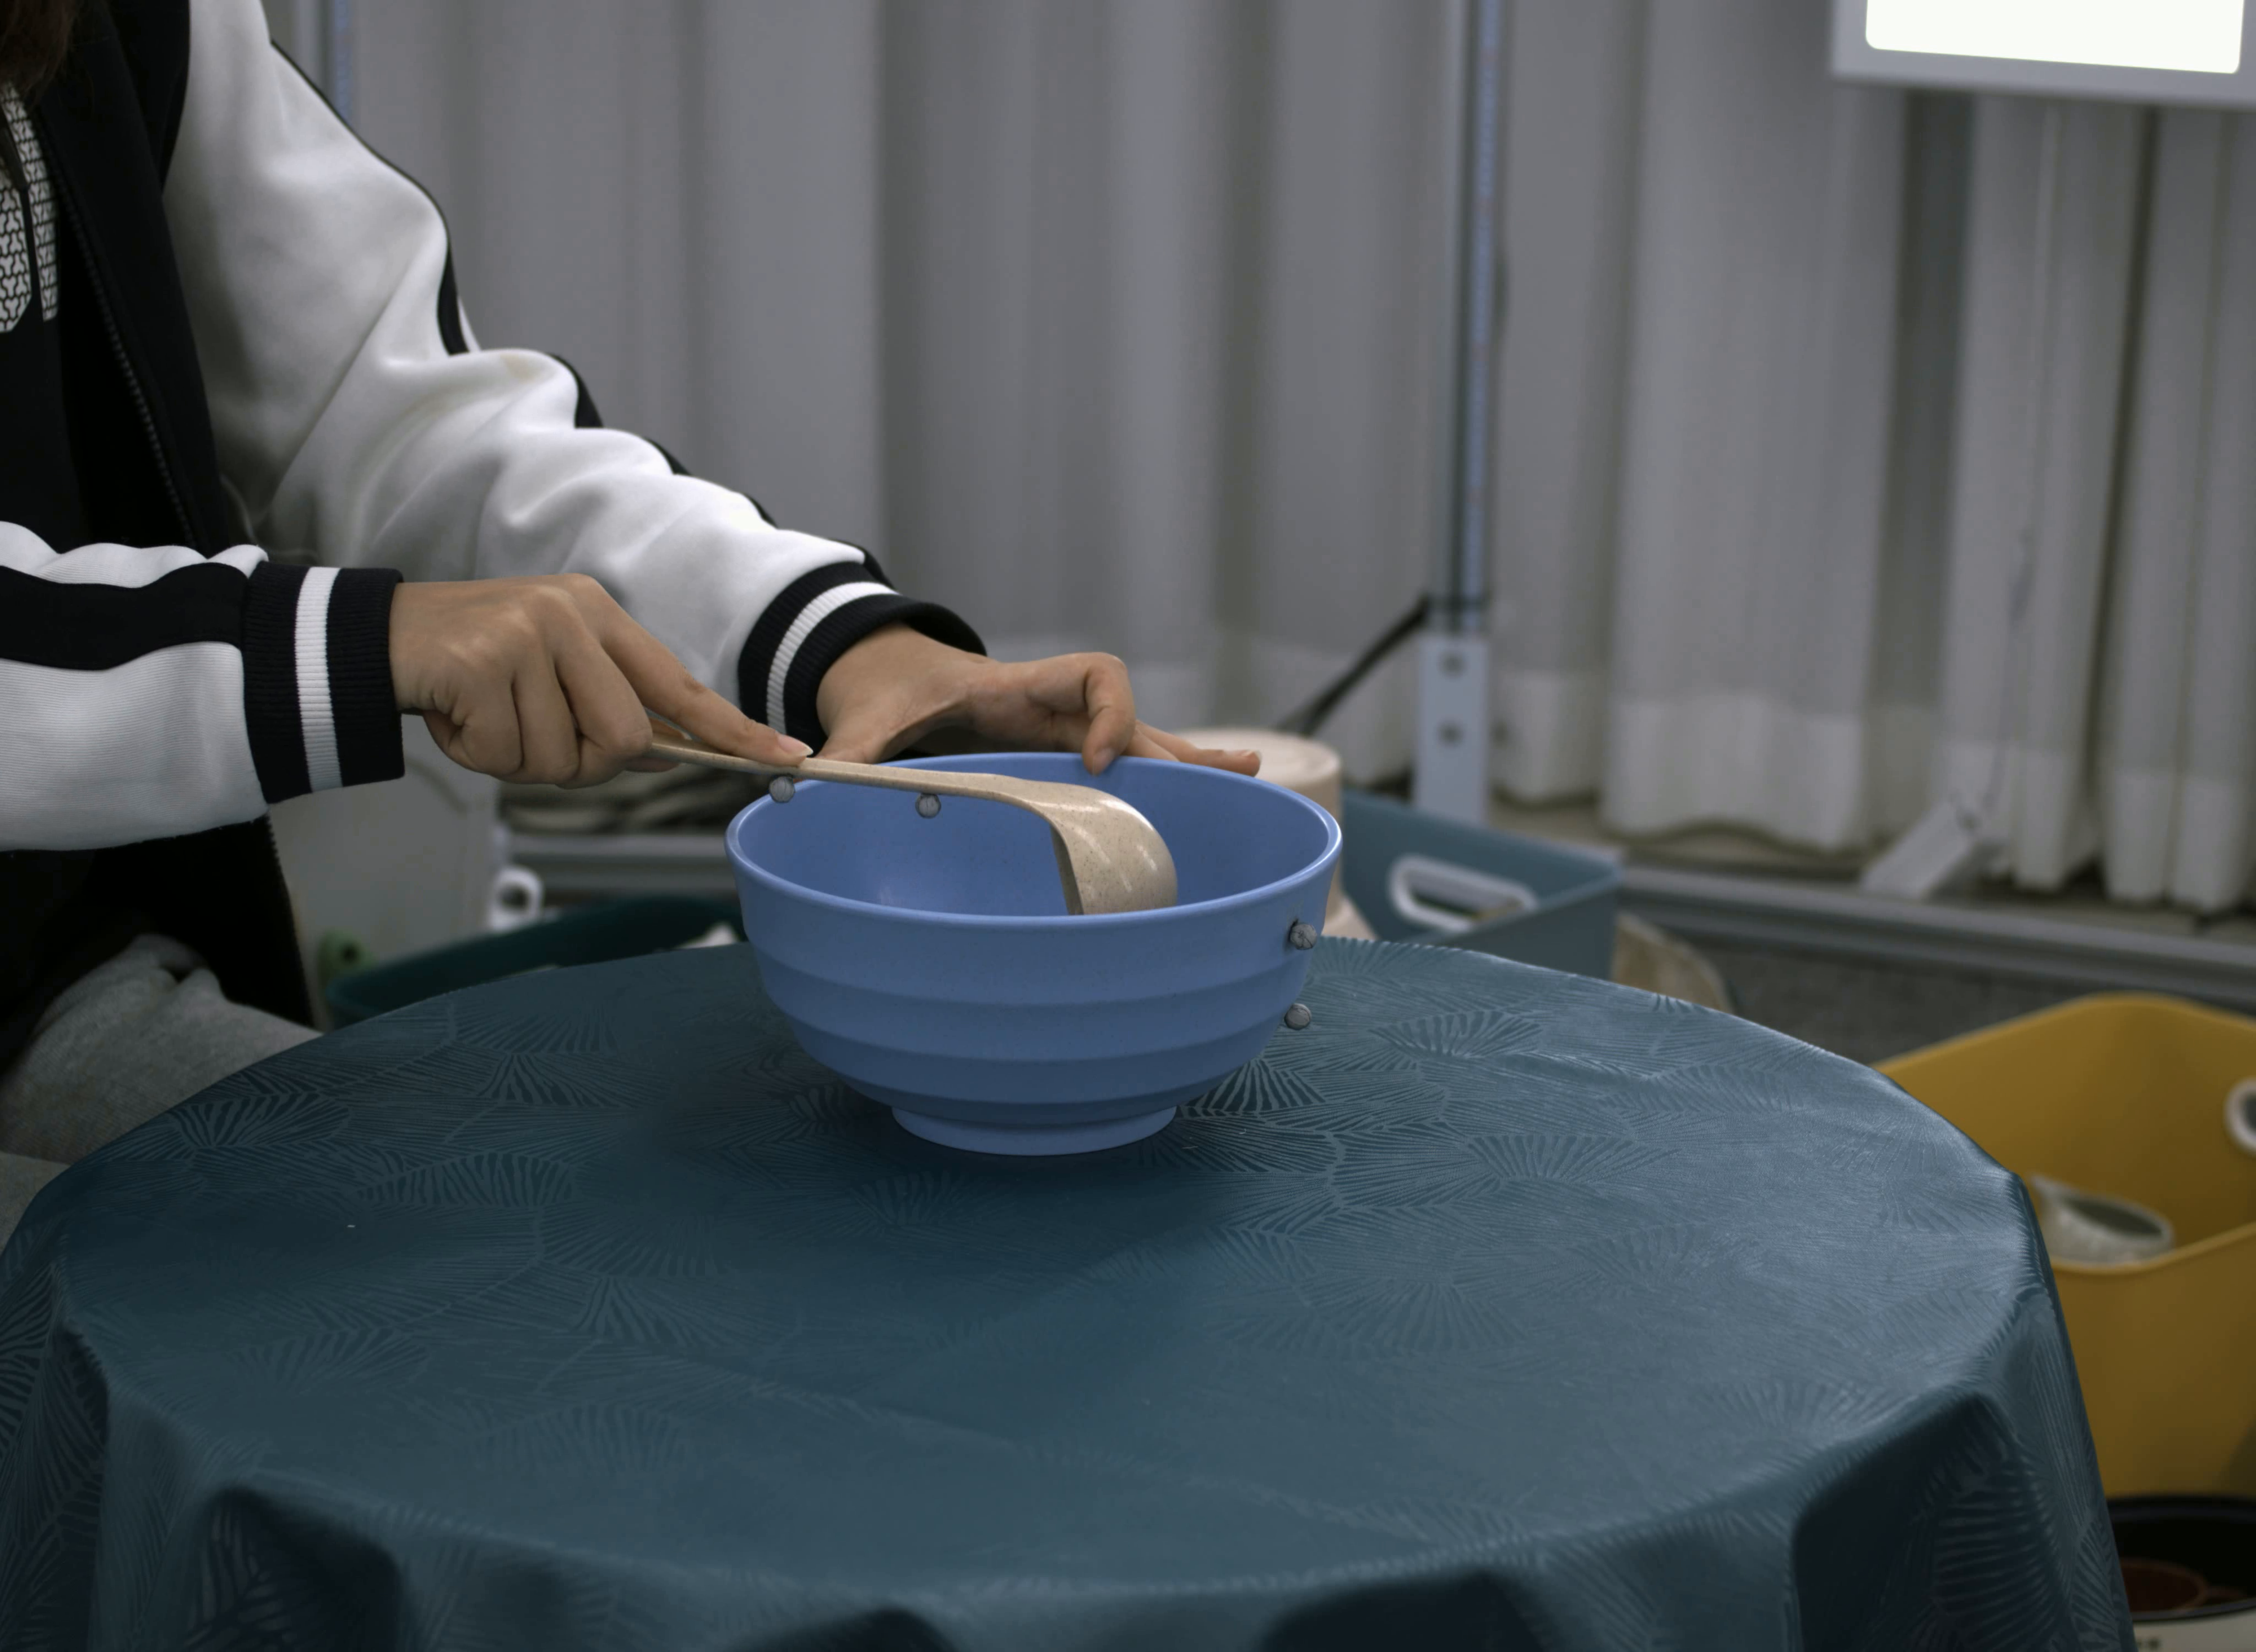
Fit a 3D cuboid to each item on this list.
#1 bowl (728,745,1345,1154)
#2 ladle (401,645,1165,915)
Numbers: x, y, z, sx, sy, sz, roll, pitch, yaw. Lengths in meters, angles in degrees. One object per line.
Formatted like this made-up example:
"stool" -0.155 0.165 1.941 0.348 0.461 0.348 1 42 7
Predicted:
"bowl" -0.031 0.045 1.682 0.196 0.096 0.195 3 16 0
"ladle" -0.115 0.004 1.647 0.253 0.072 0.072 14 60 1
